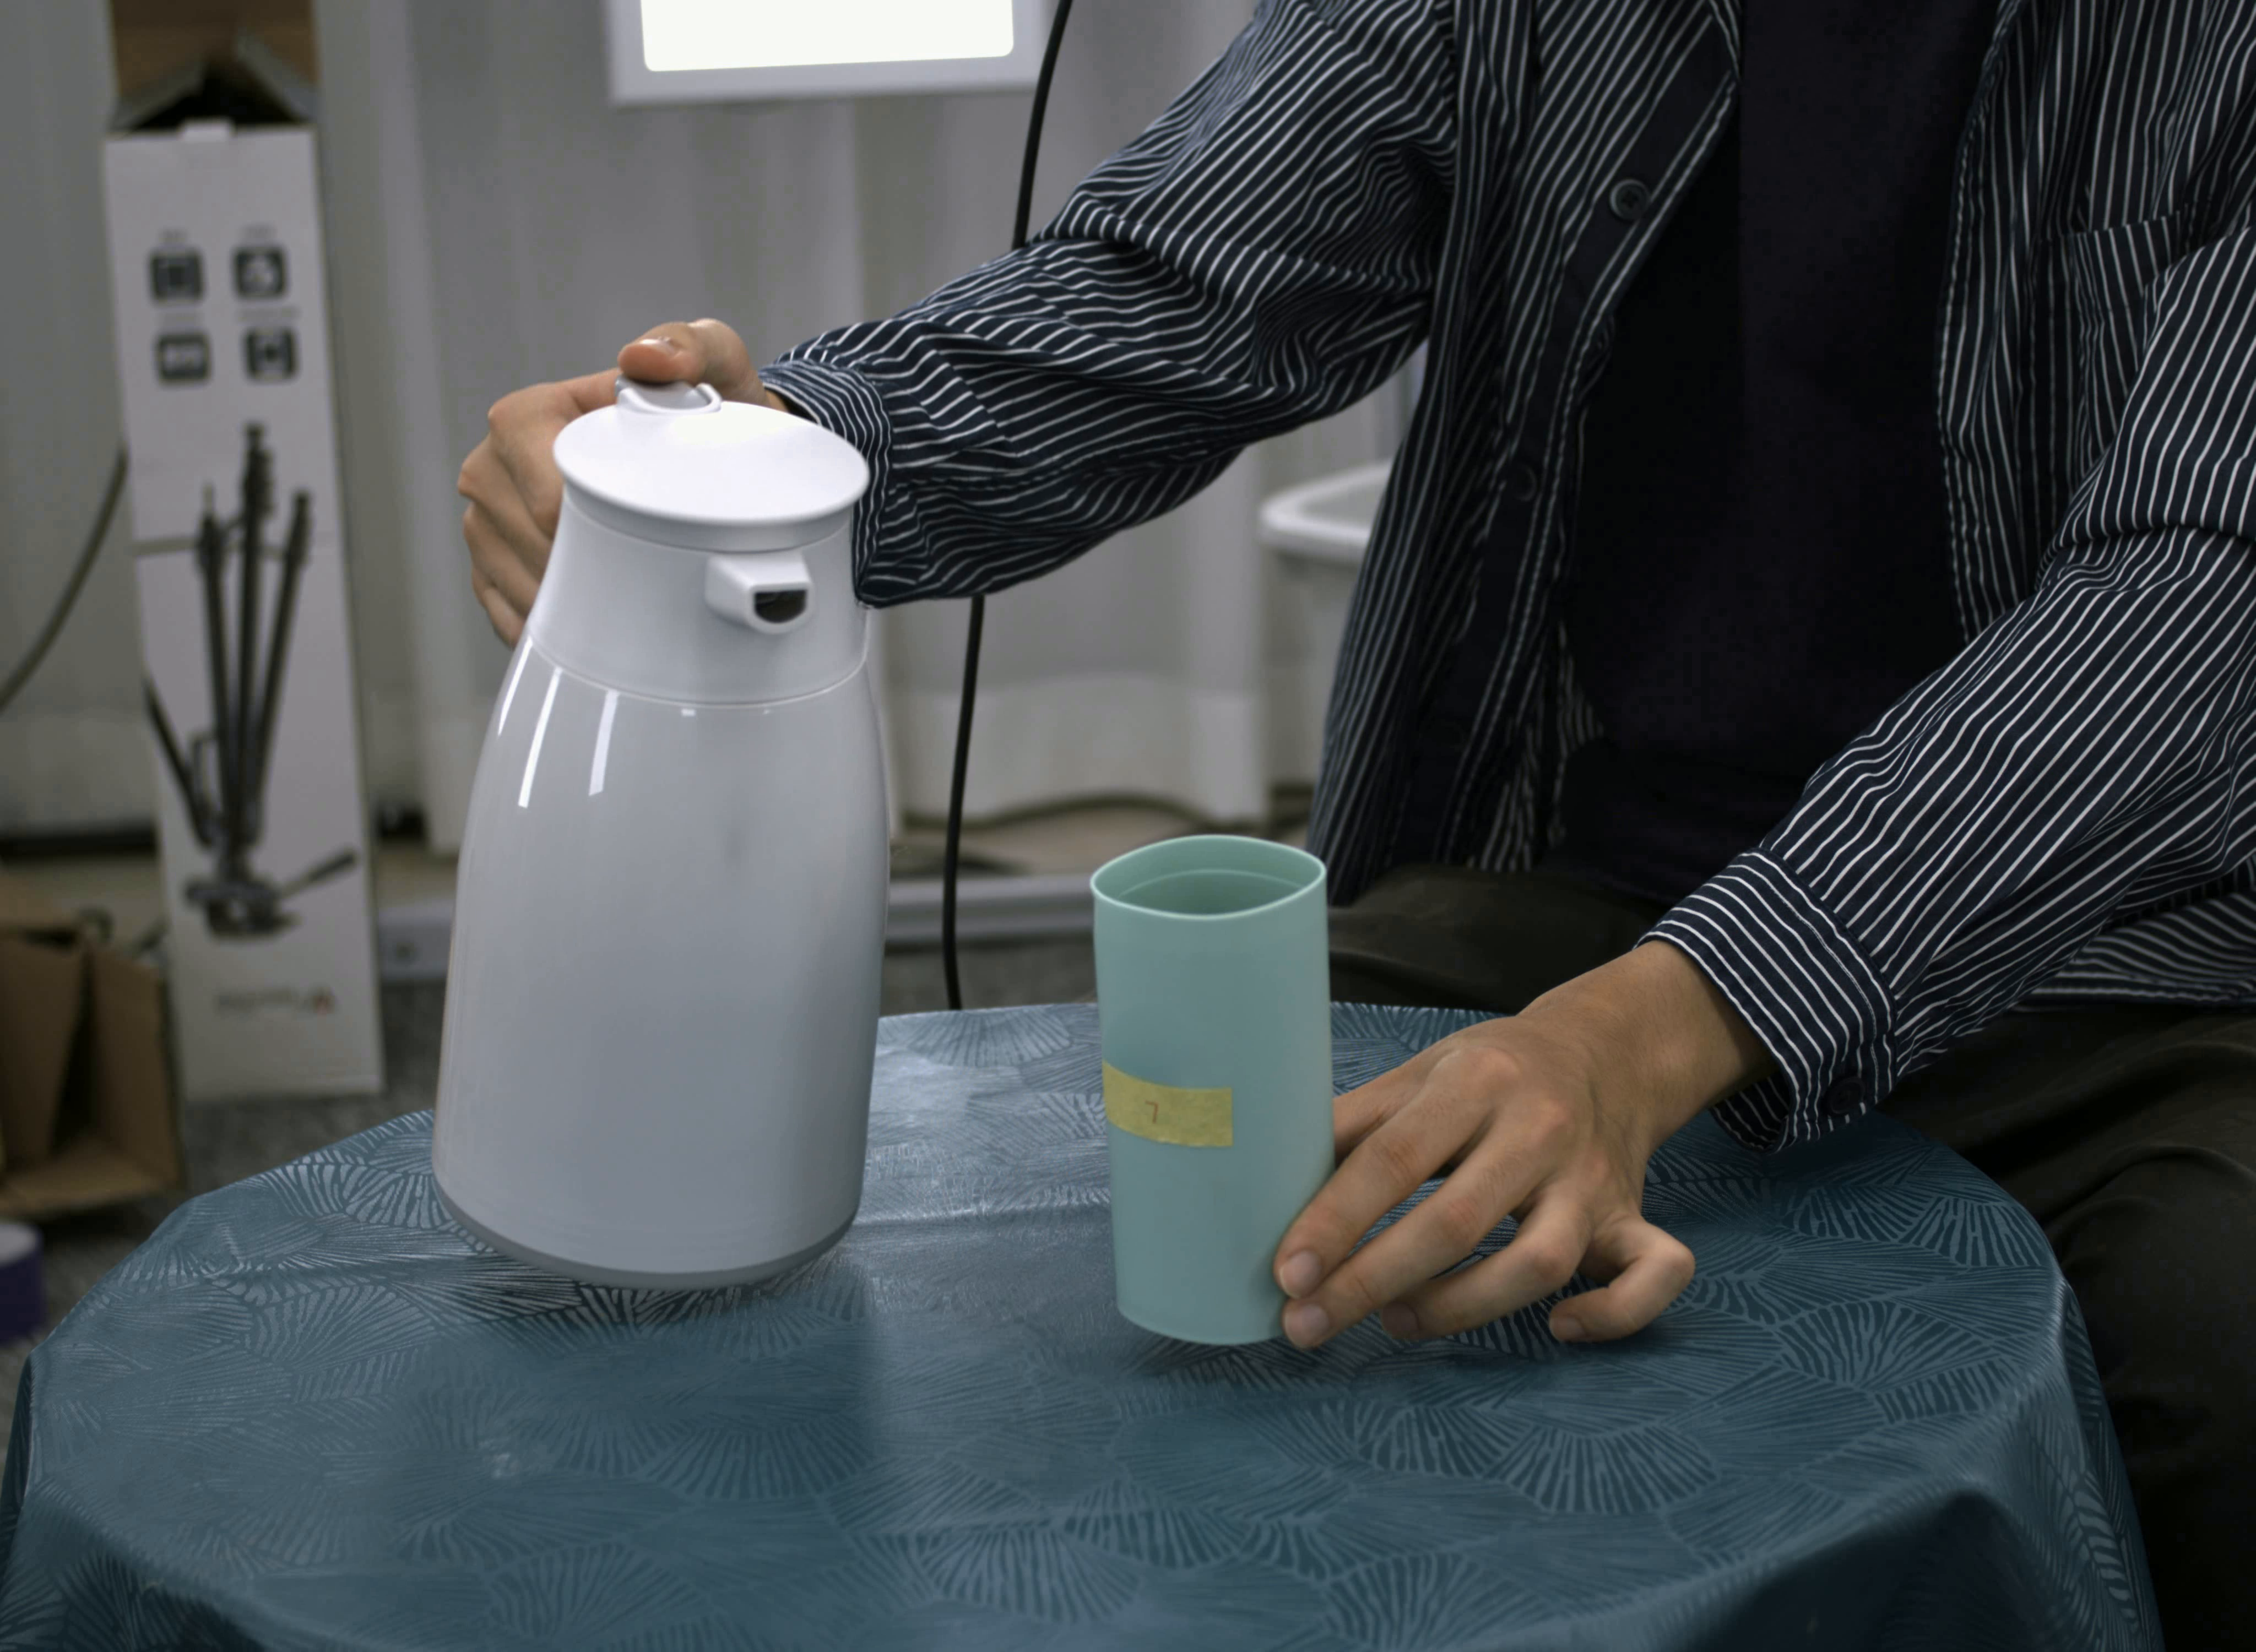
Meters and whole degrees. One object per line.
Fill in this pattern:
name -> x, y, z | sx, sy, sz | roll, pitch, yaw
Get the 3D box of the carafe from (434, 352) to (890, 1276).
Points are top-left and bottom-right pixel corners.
carafe -> -0.143, -0.013, 1.640 | 0.132, 0.247, 0.169 | -7, 26, -27

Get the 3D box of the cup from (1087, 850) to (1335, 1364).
cup -> 0.025, 0.079, 1.551 | 0.066, 0.131, 0.067 | -3, 18, 1
